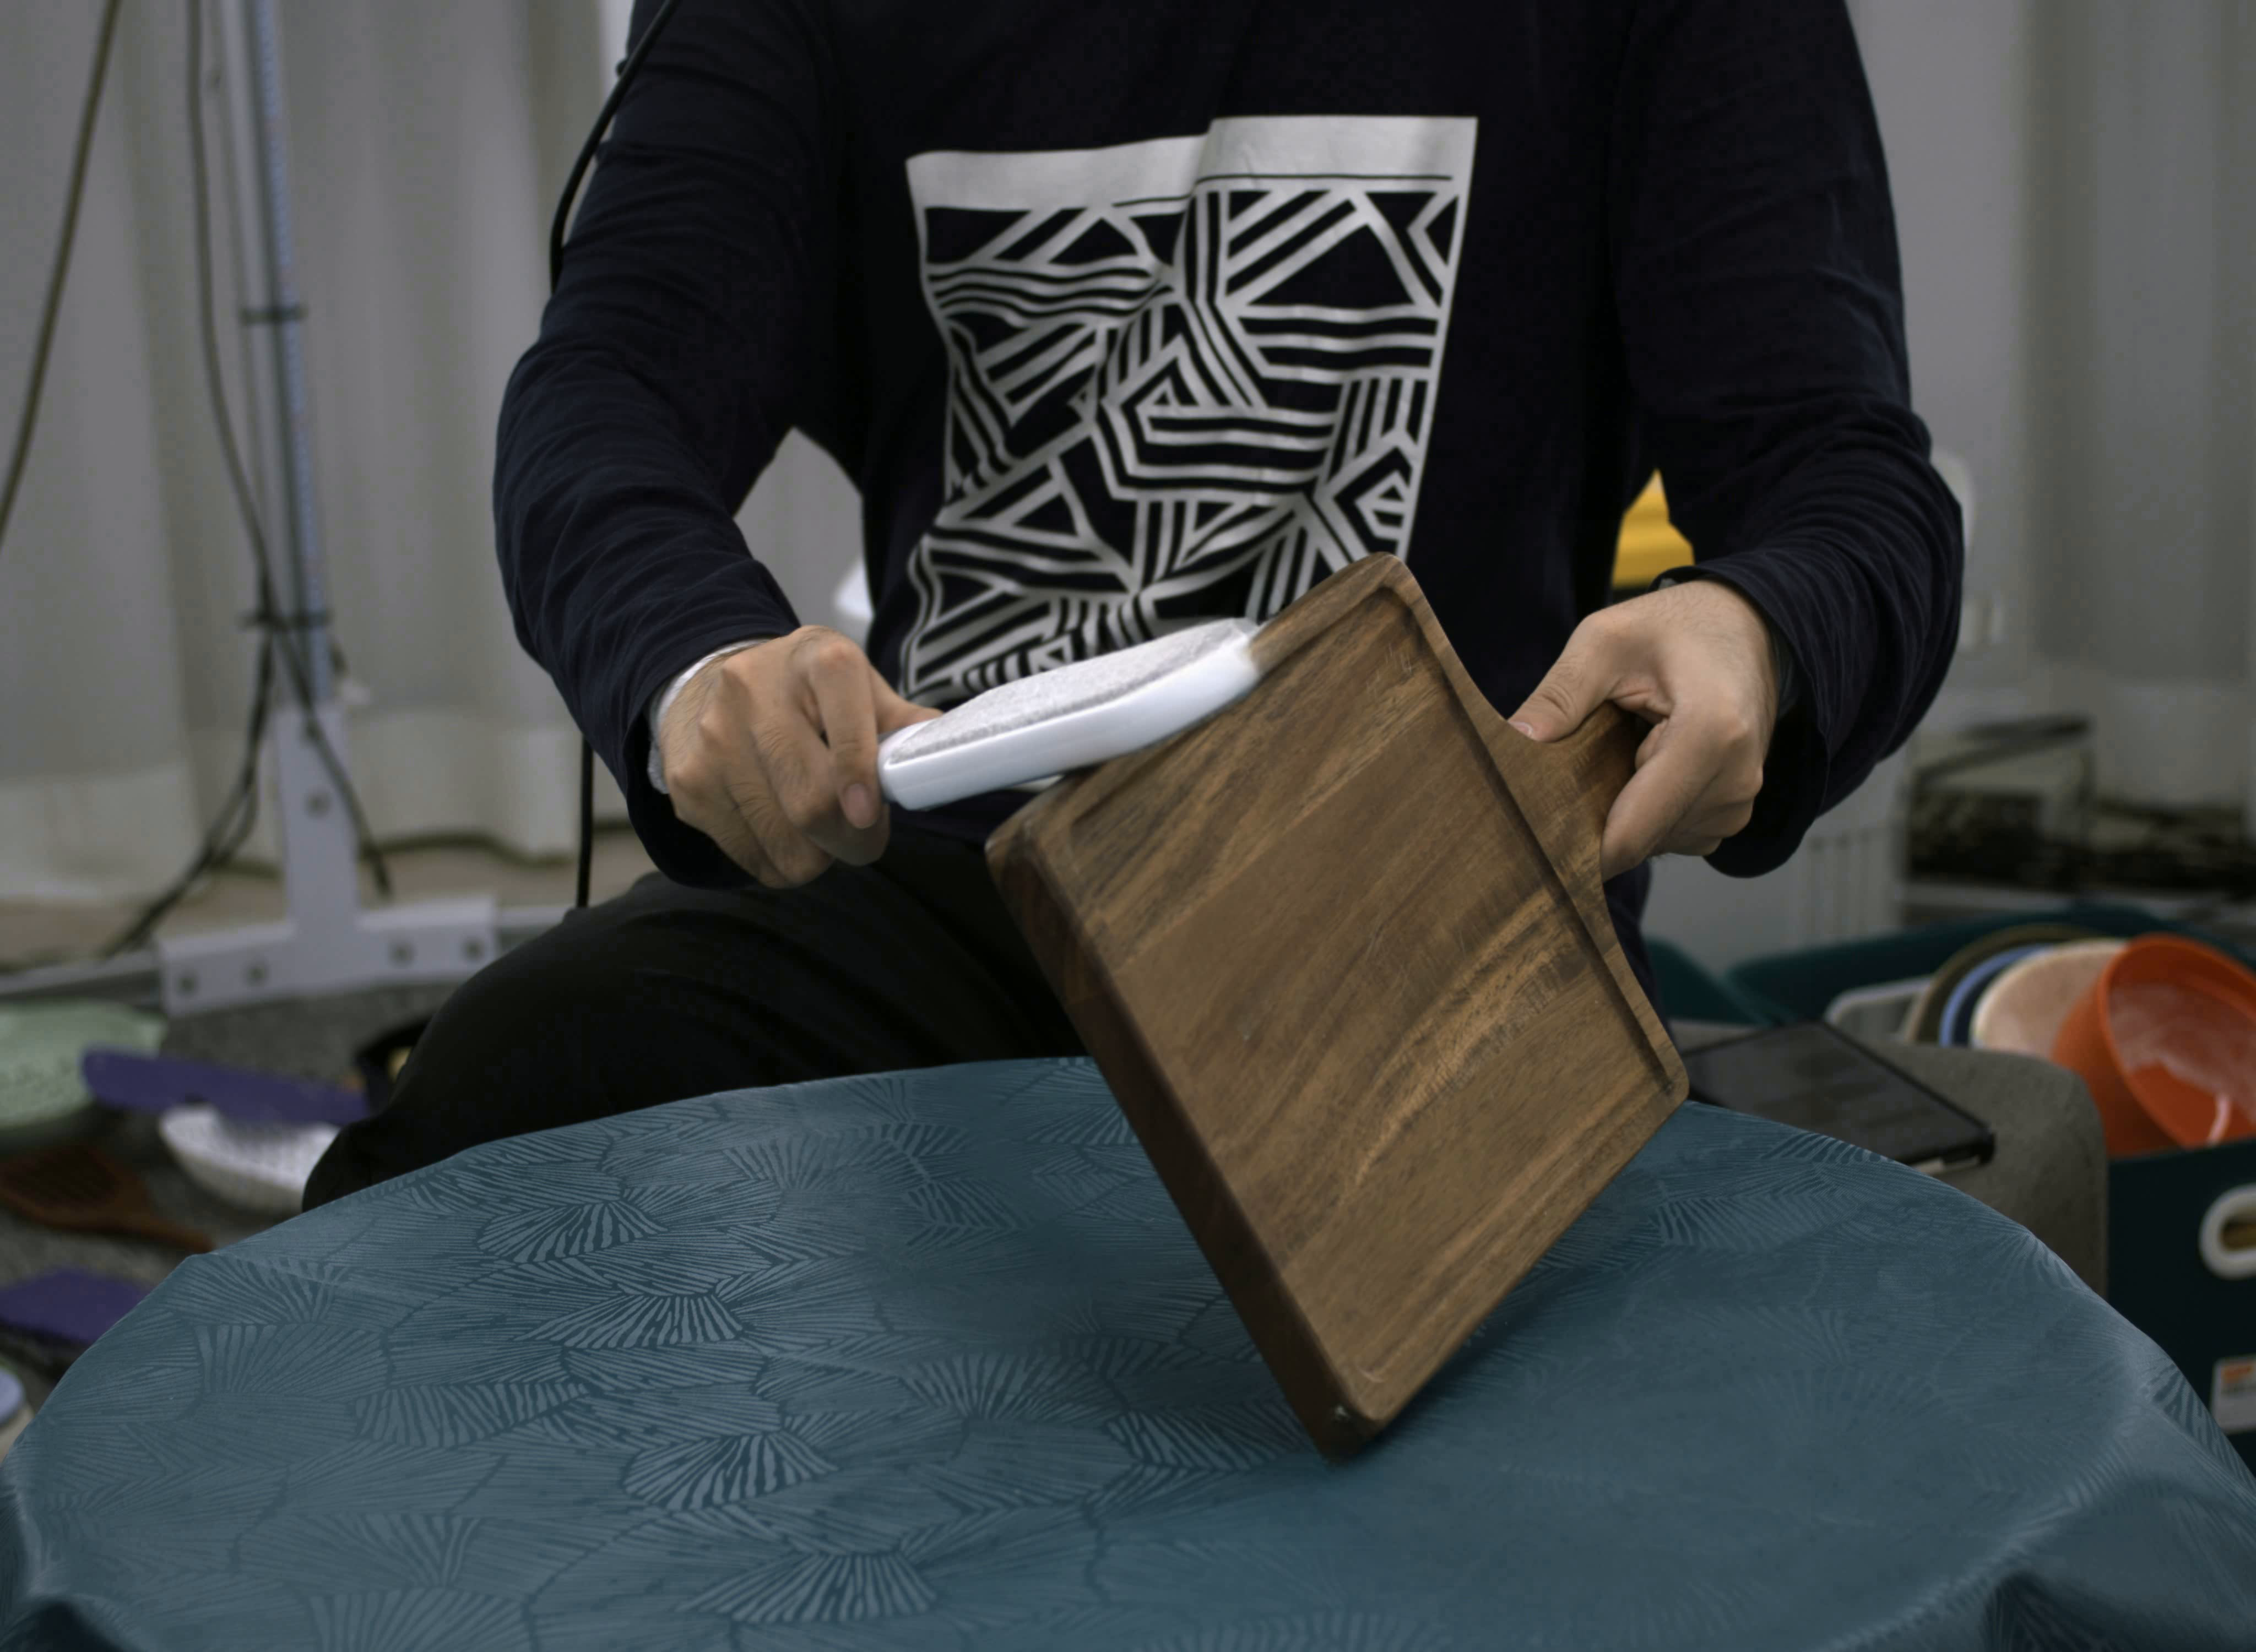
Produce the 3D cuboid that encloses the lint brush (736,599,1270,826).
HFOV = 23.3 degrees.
[{"bbox_3d":[-0.044,-0.028,1.600,0.060,0.021,0.309,-38,11,-26],"label":"lint brush"}]

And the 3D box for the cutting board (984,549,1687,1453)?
[{"bbox_3d":[0.088,0.027,1.623,0.023,0.201,0.353,-27,5,33],"label":"cutting board"}]
